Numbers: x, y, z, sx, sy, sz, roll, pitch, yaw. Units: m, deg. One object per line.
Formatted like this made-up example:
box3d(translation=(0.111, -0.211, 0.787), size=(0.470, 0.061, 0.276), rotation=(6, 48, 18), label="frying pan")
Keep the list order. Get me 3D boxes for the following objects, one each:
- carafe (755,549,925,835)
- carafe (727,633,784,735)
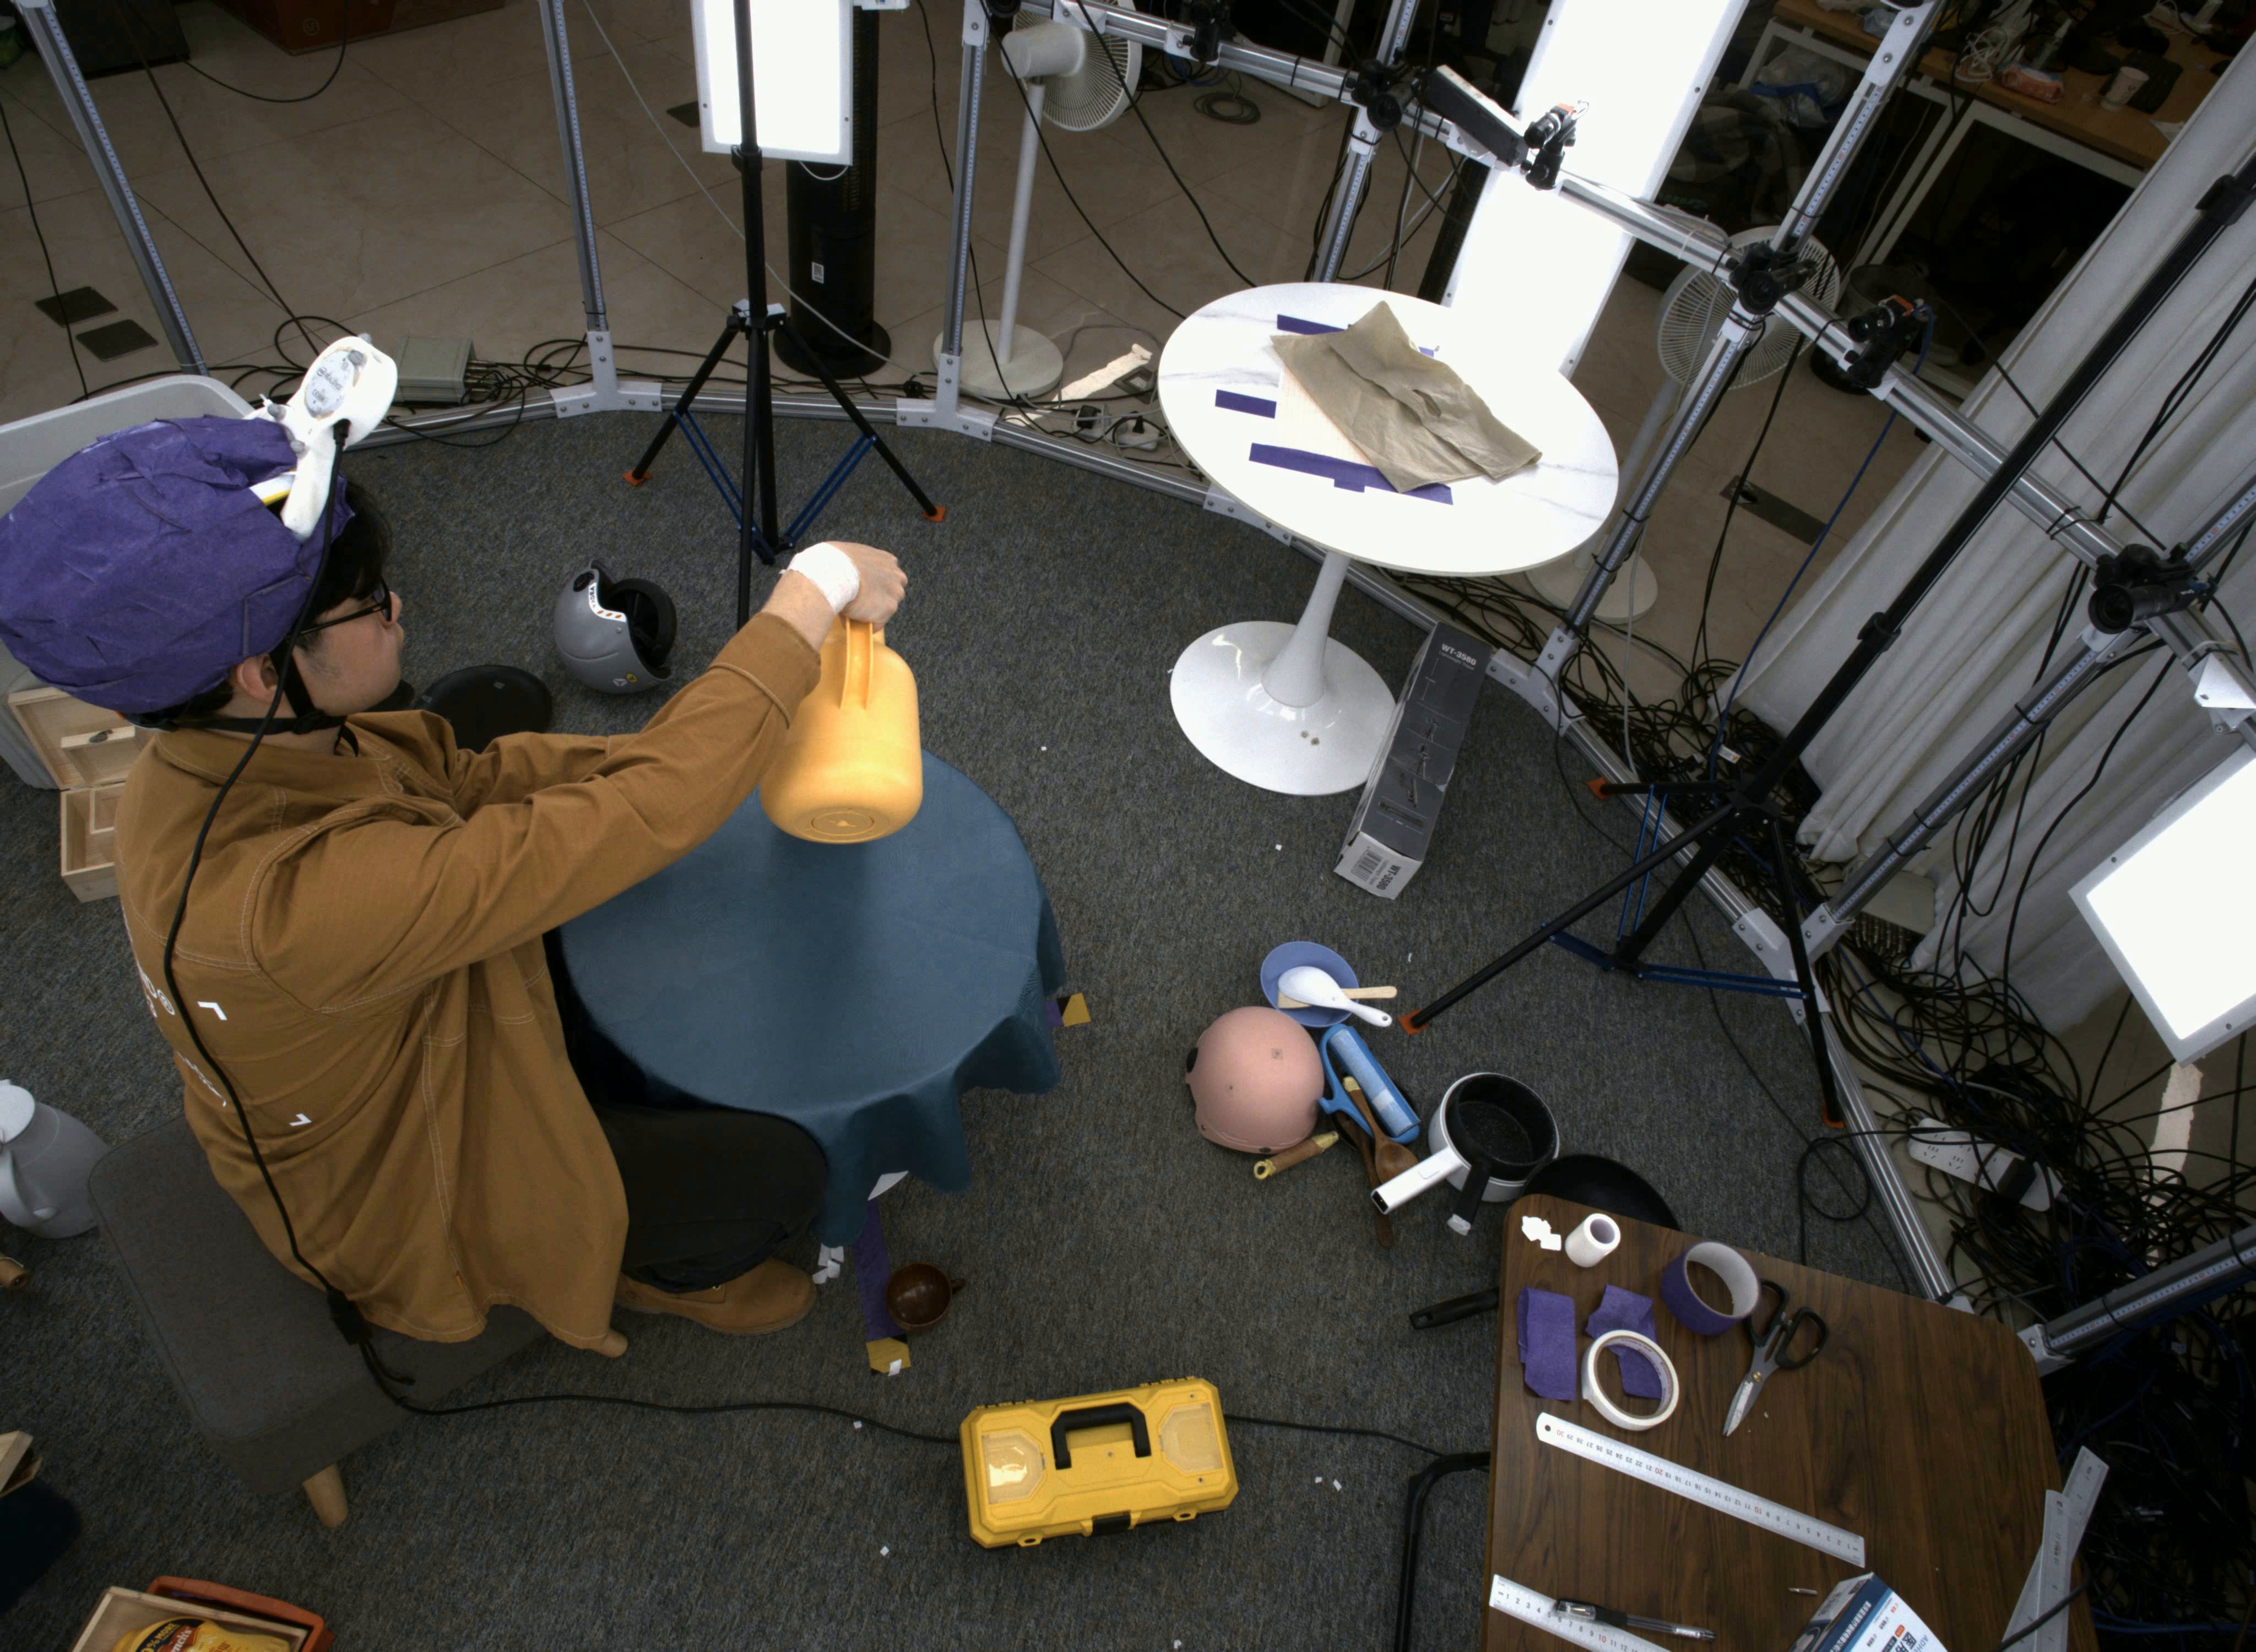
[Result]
box3d(translation=(-0.295, -0.142, 1.308), size=(0.164, 0.203, 0.258), rotation=(-3, 68, -20), label="carafe")
box3d(translation=(-0.391, -0.121, 1.569), size=(0.173, 0.272, 0.122), rotation=(1, 64, -13), label="carafe")
